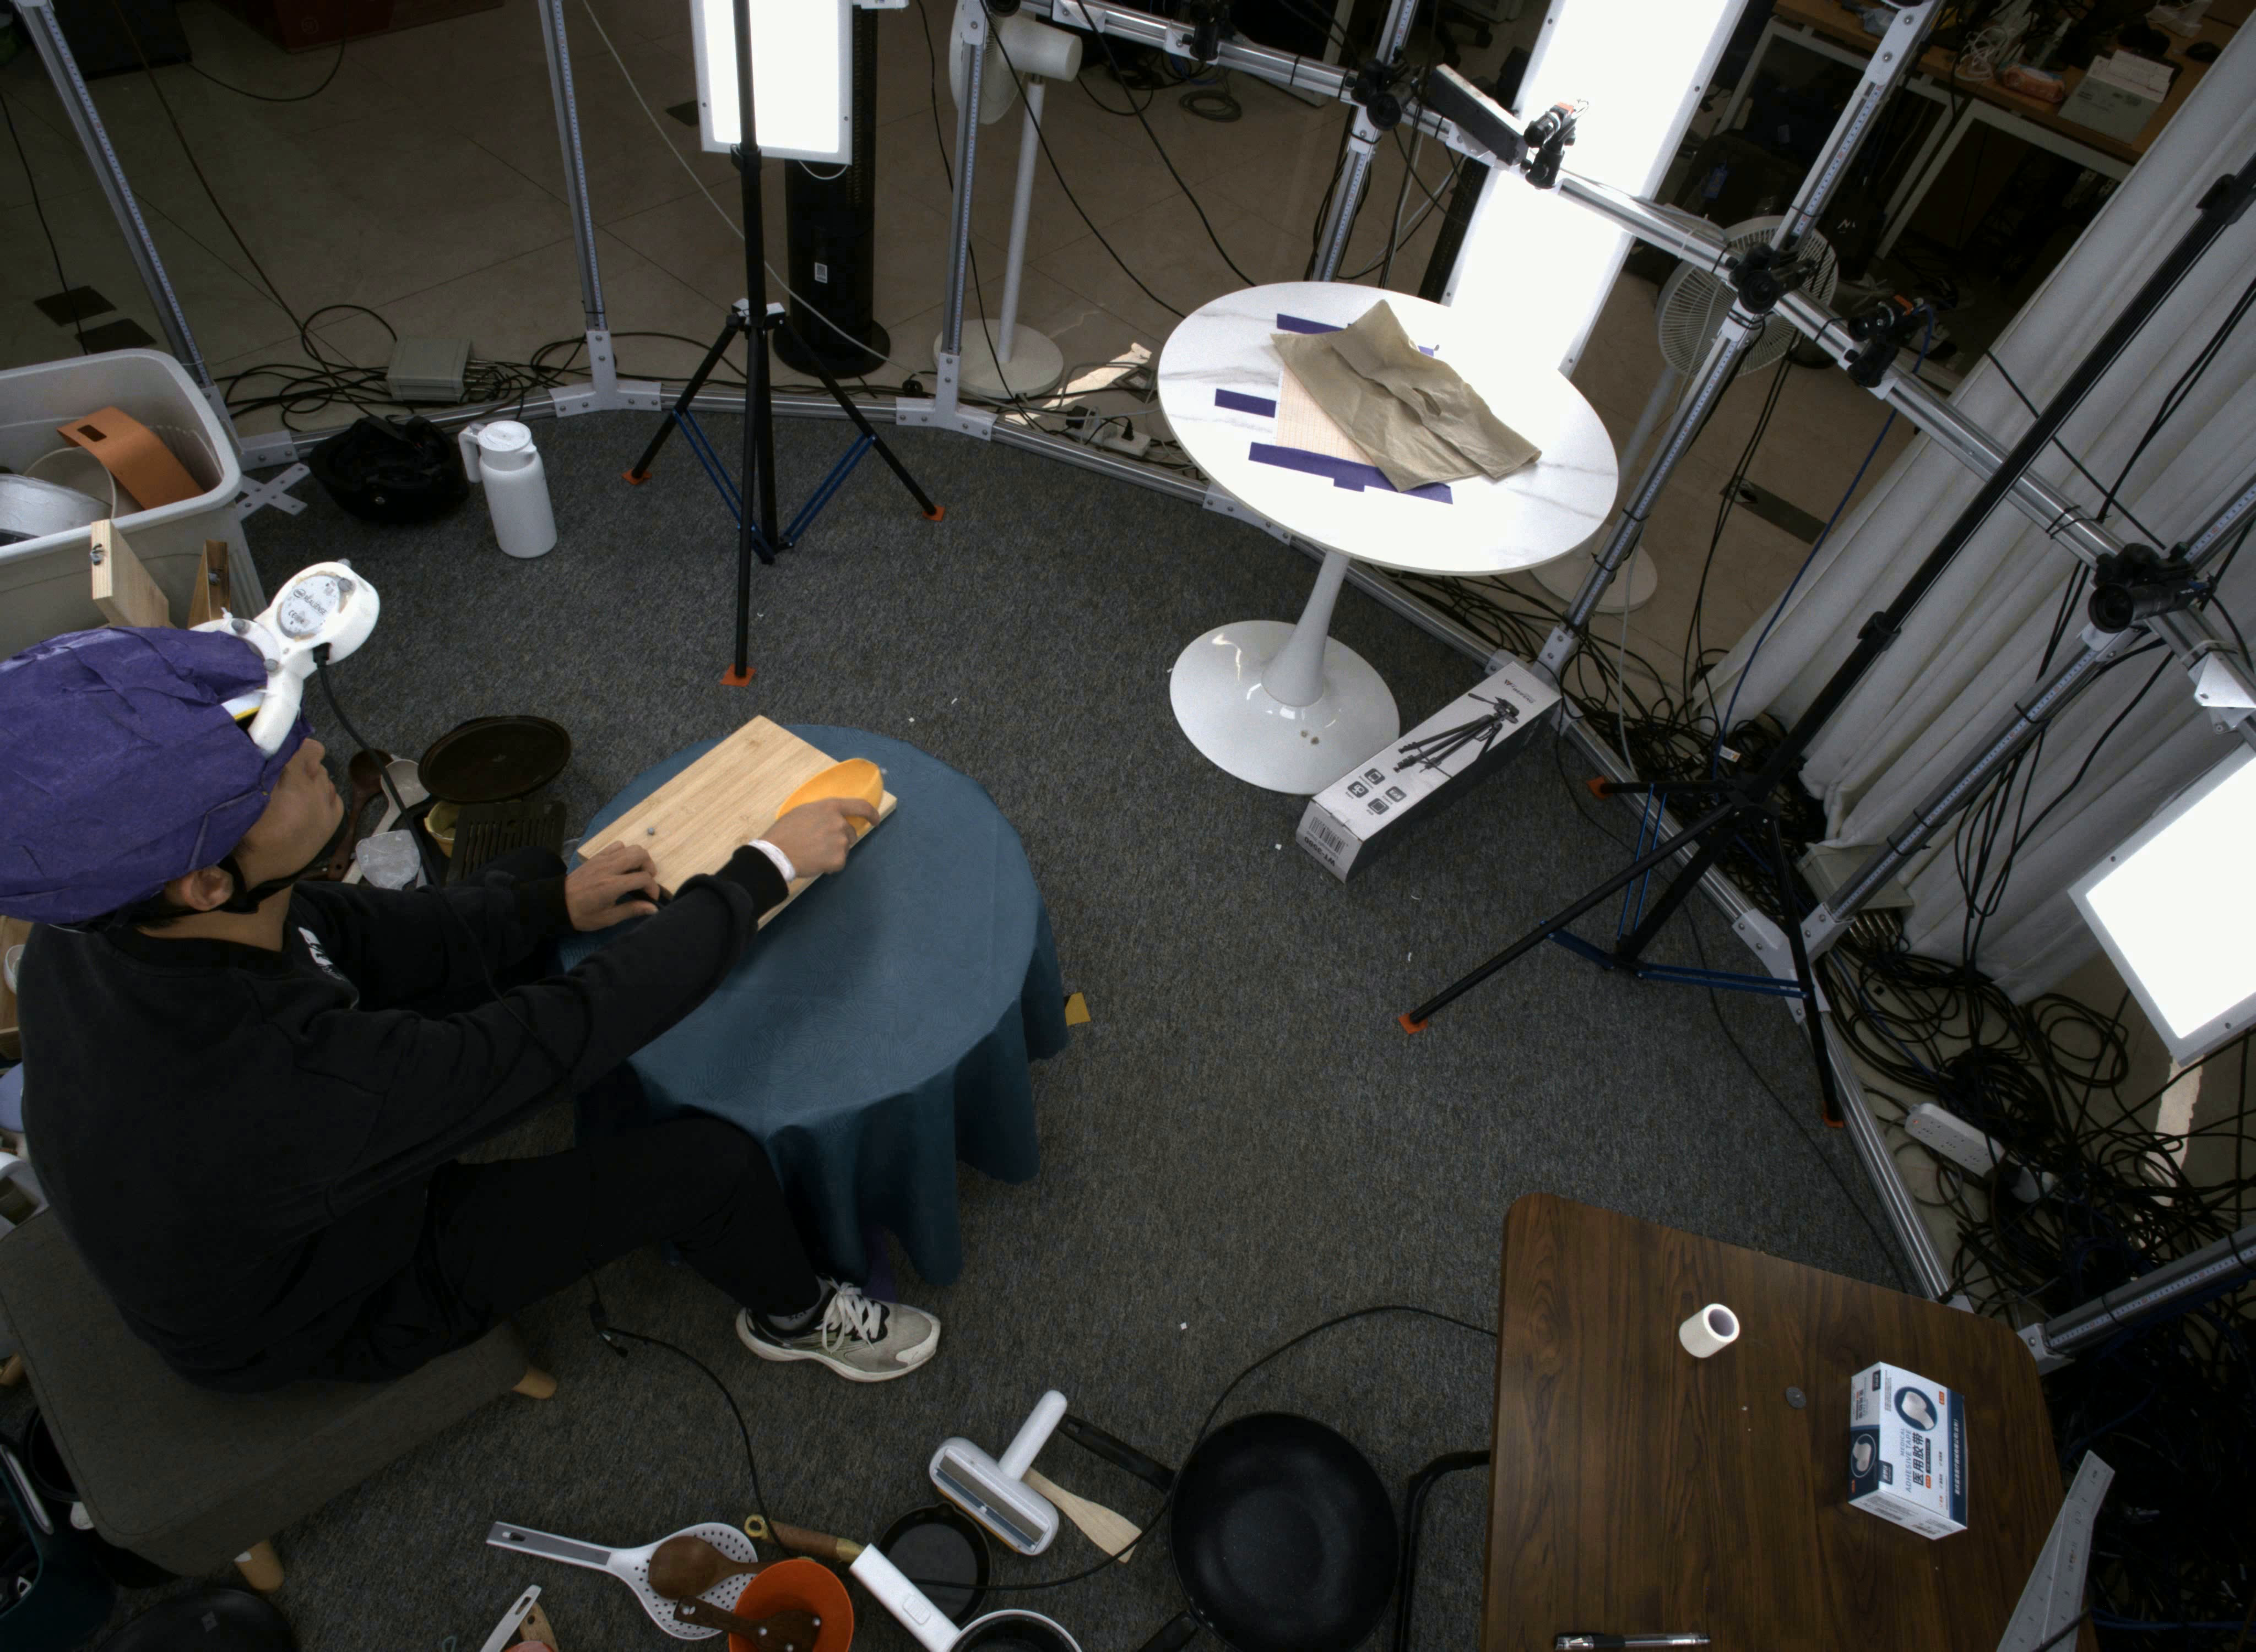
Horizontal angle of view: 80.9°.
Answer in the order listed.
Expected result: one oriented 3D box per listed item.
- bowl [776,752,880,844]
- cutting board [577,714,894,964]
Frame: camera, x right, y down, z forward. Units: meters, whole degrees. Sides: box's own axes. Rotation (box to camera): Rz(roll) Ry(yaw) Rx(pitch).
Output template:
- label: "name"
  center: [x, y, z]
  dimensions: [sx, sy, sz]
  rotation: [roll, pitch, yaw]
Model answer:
- label: "bowl"
  center: [-0.356, -0.023, 1.592]
  dimensions: [0.143, 0.062, 0.142]
  rotation: [-25, 27, 16]
- label: "cutting board"
  center: [-0.501, 0.004, 1.670]
  dimensions: [0.246, 0.024, 0.347]
  rotation: [31, 46, 9]
